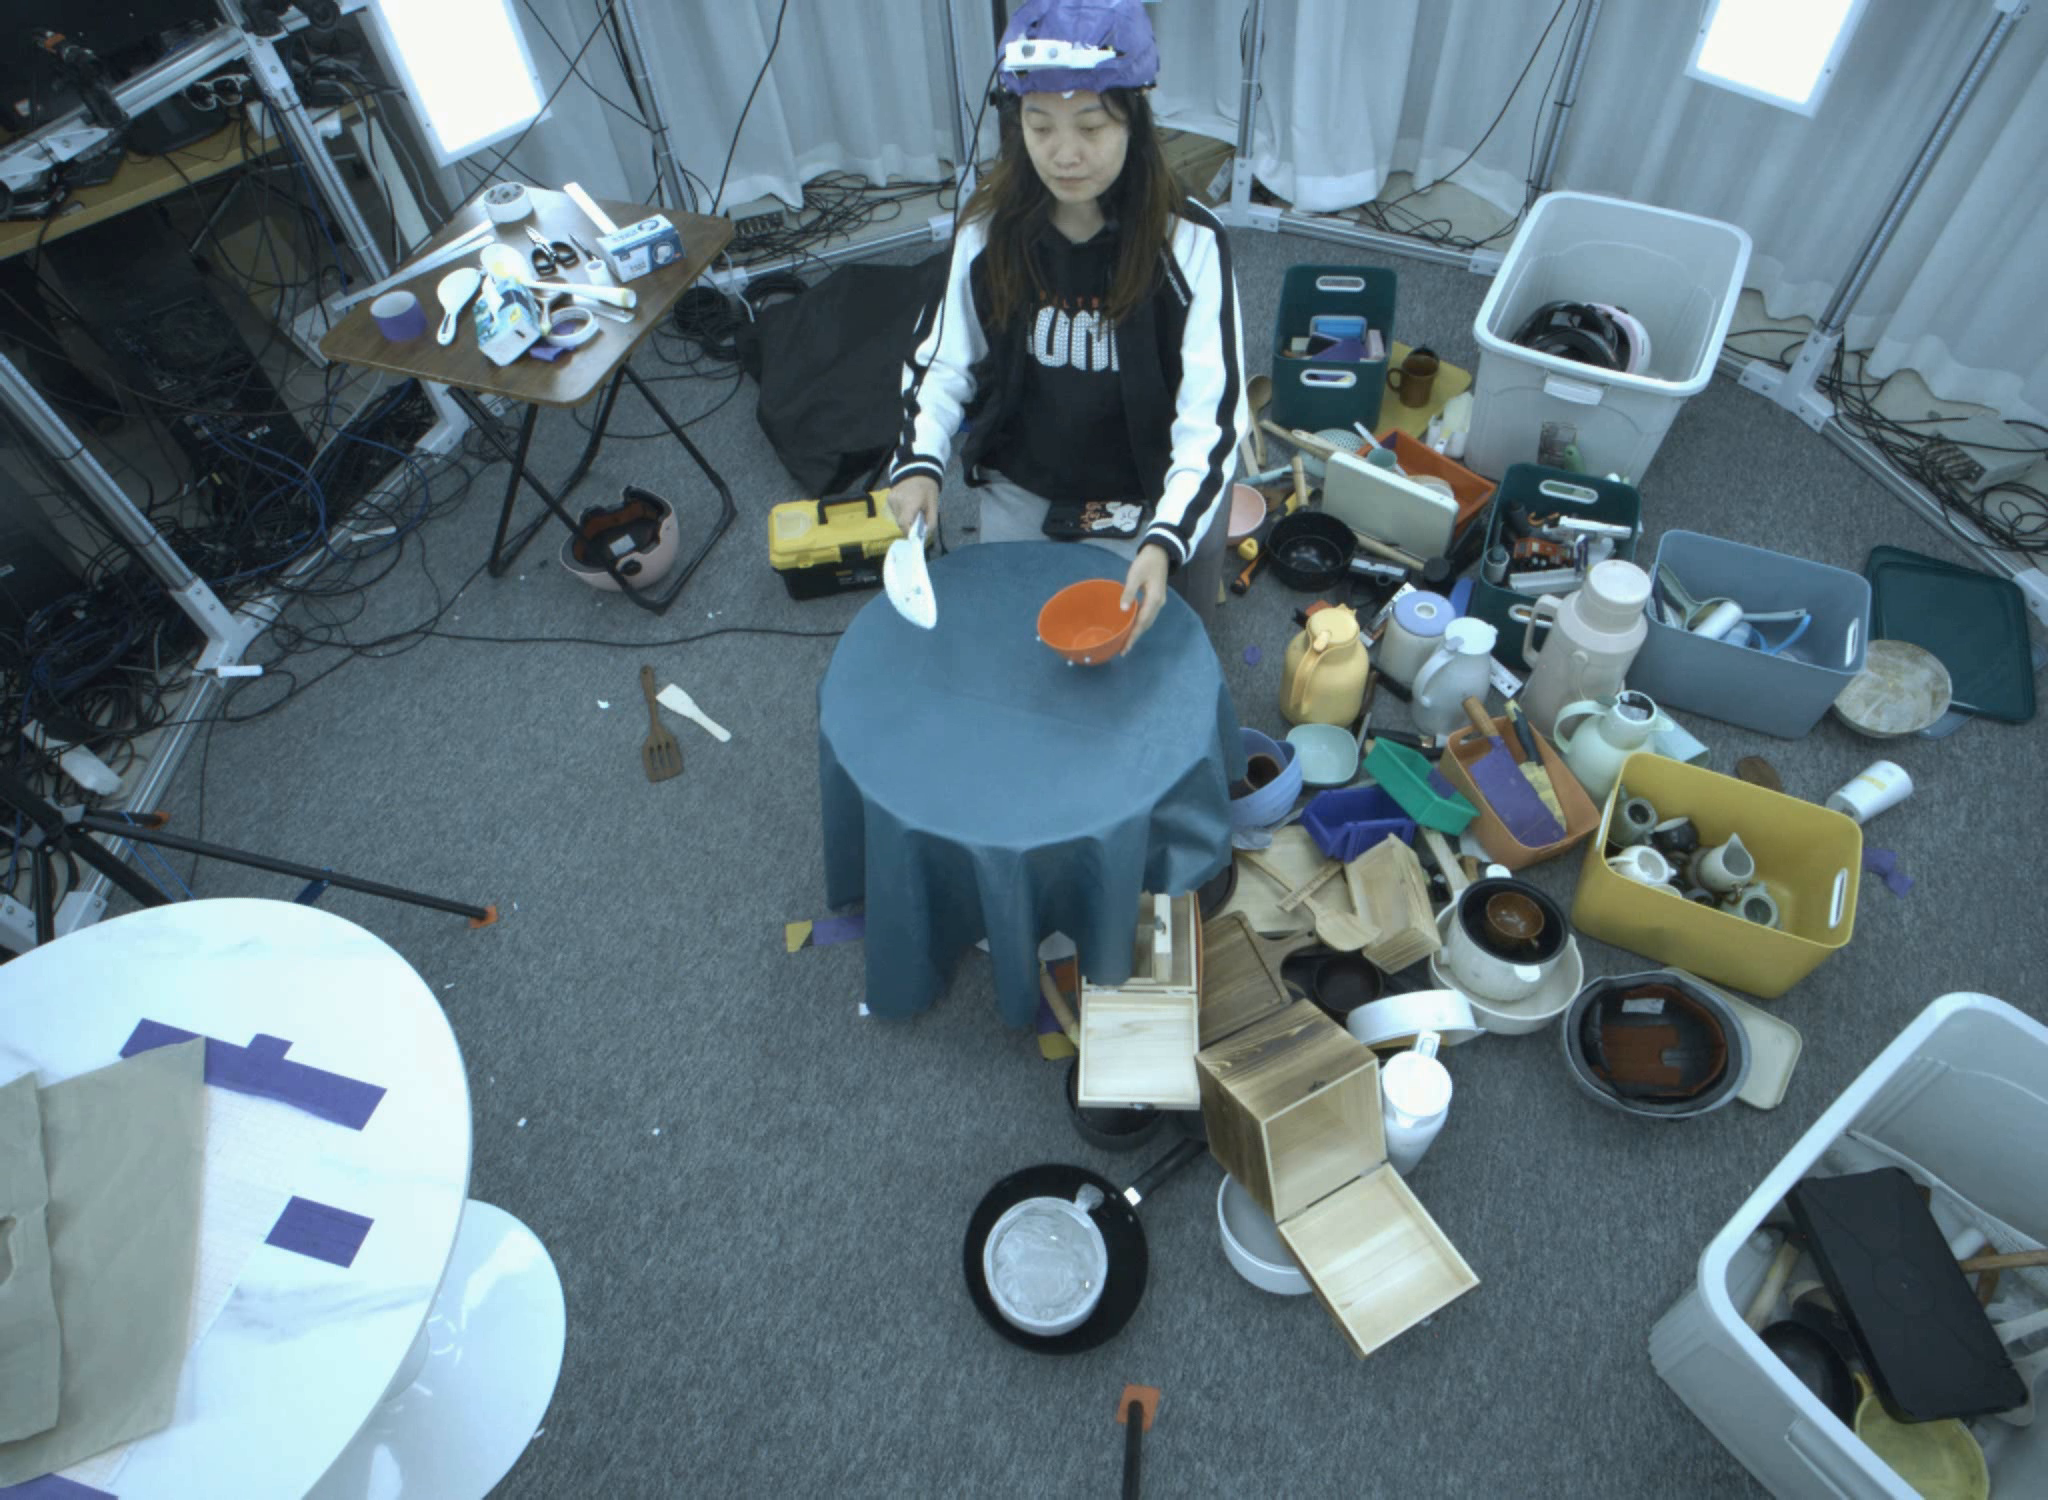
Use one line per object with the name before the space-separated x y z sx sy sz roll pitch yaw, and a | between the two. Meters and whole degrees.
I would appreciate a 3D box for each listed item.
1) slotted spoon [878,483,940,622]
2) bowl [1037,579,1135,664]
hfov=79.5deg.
slotted spoon | -0.165 -0.313 1.849 0.045 0.139 0.347 -23 36 27
bowl | 0.099 -0.174 1.806 0.147 0.106 0.146 -7 57 12
